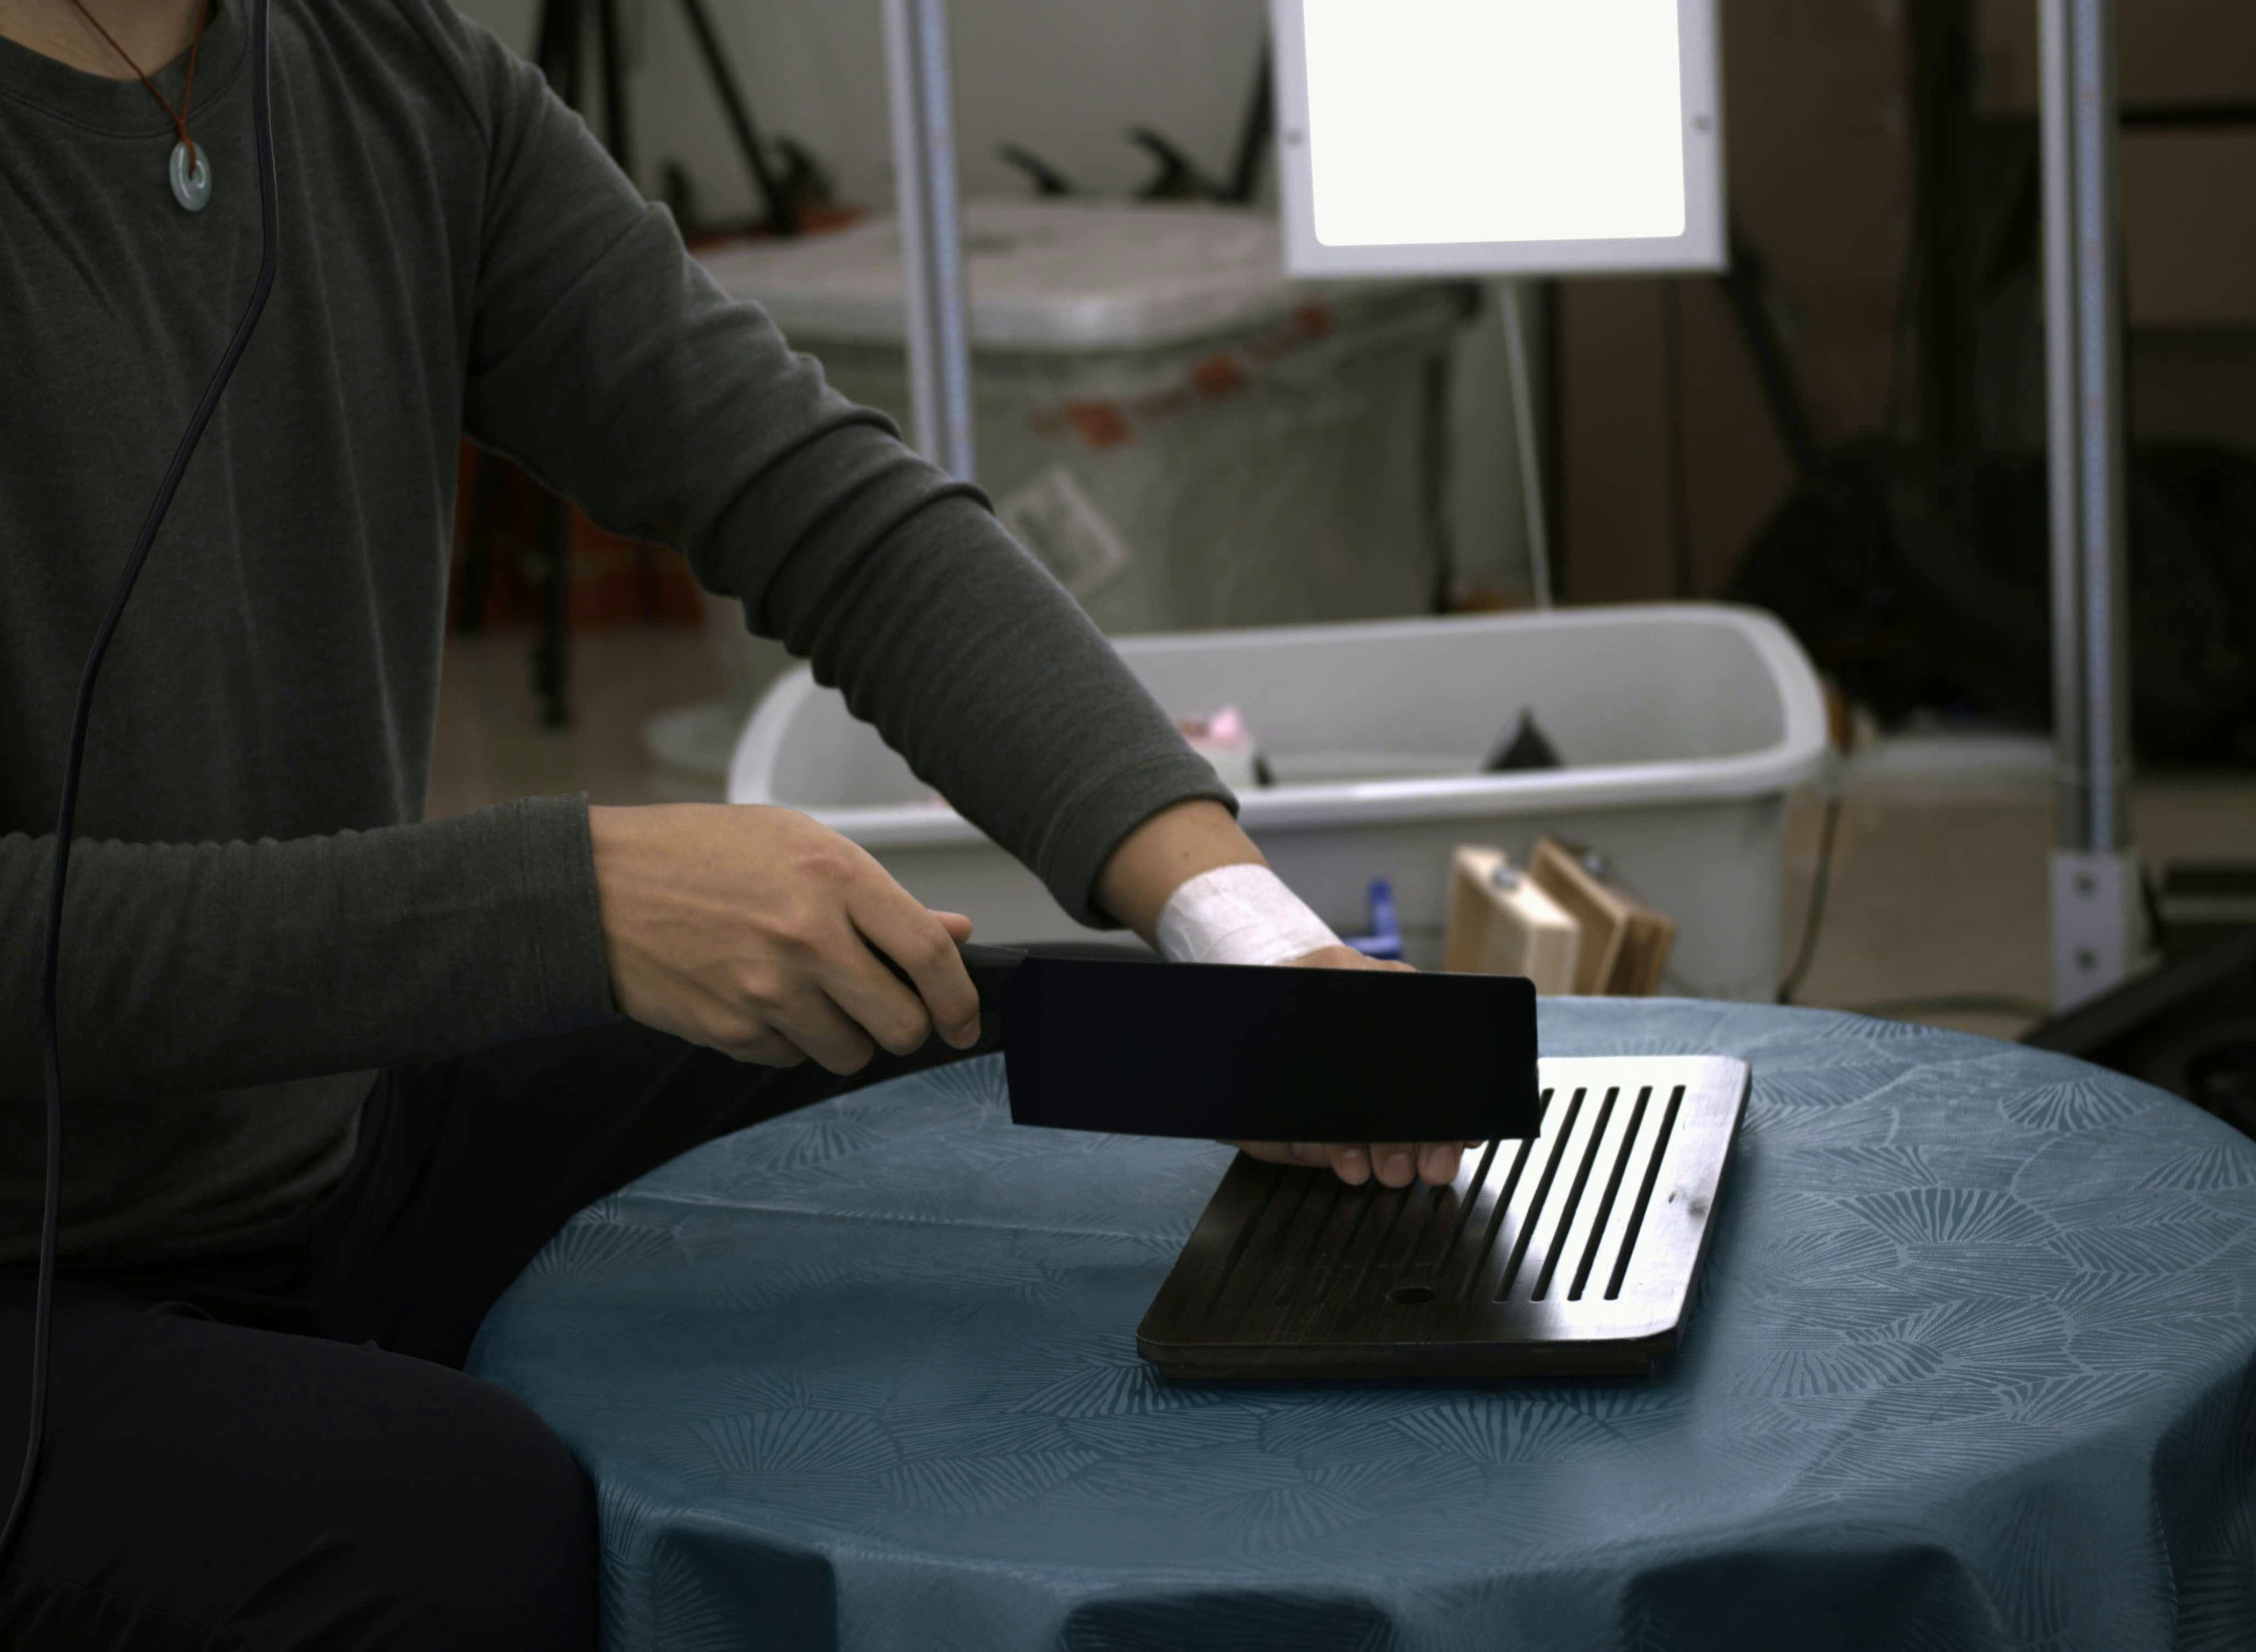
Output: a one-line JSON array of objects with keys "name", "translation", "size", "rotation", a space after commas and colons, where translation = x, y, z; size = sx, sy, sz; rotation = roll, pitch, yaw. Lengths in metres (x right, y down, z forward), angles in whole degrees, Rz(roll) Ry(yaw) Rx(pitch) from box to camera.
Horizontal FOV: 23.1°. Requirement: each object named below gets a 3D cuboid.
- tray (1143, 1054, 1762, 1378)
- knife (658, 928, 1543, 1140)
[{"name": "tray", "translation": [0.115, 0.127, 1.819], "size": [0.171, 0.019, 0.302], "rotation": [-3, 13, 13]}, {"name": "knife", "translation": [-0.011, 0.068, 1.820], "size": [0.305, 0.081, 0.020], "rotation": [6, 29, 14]}]
